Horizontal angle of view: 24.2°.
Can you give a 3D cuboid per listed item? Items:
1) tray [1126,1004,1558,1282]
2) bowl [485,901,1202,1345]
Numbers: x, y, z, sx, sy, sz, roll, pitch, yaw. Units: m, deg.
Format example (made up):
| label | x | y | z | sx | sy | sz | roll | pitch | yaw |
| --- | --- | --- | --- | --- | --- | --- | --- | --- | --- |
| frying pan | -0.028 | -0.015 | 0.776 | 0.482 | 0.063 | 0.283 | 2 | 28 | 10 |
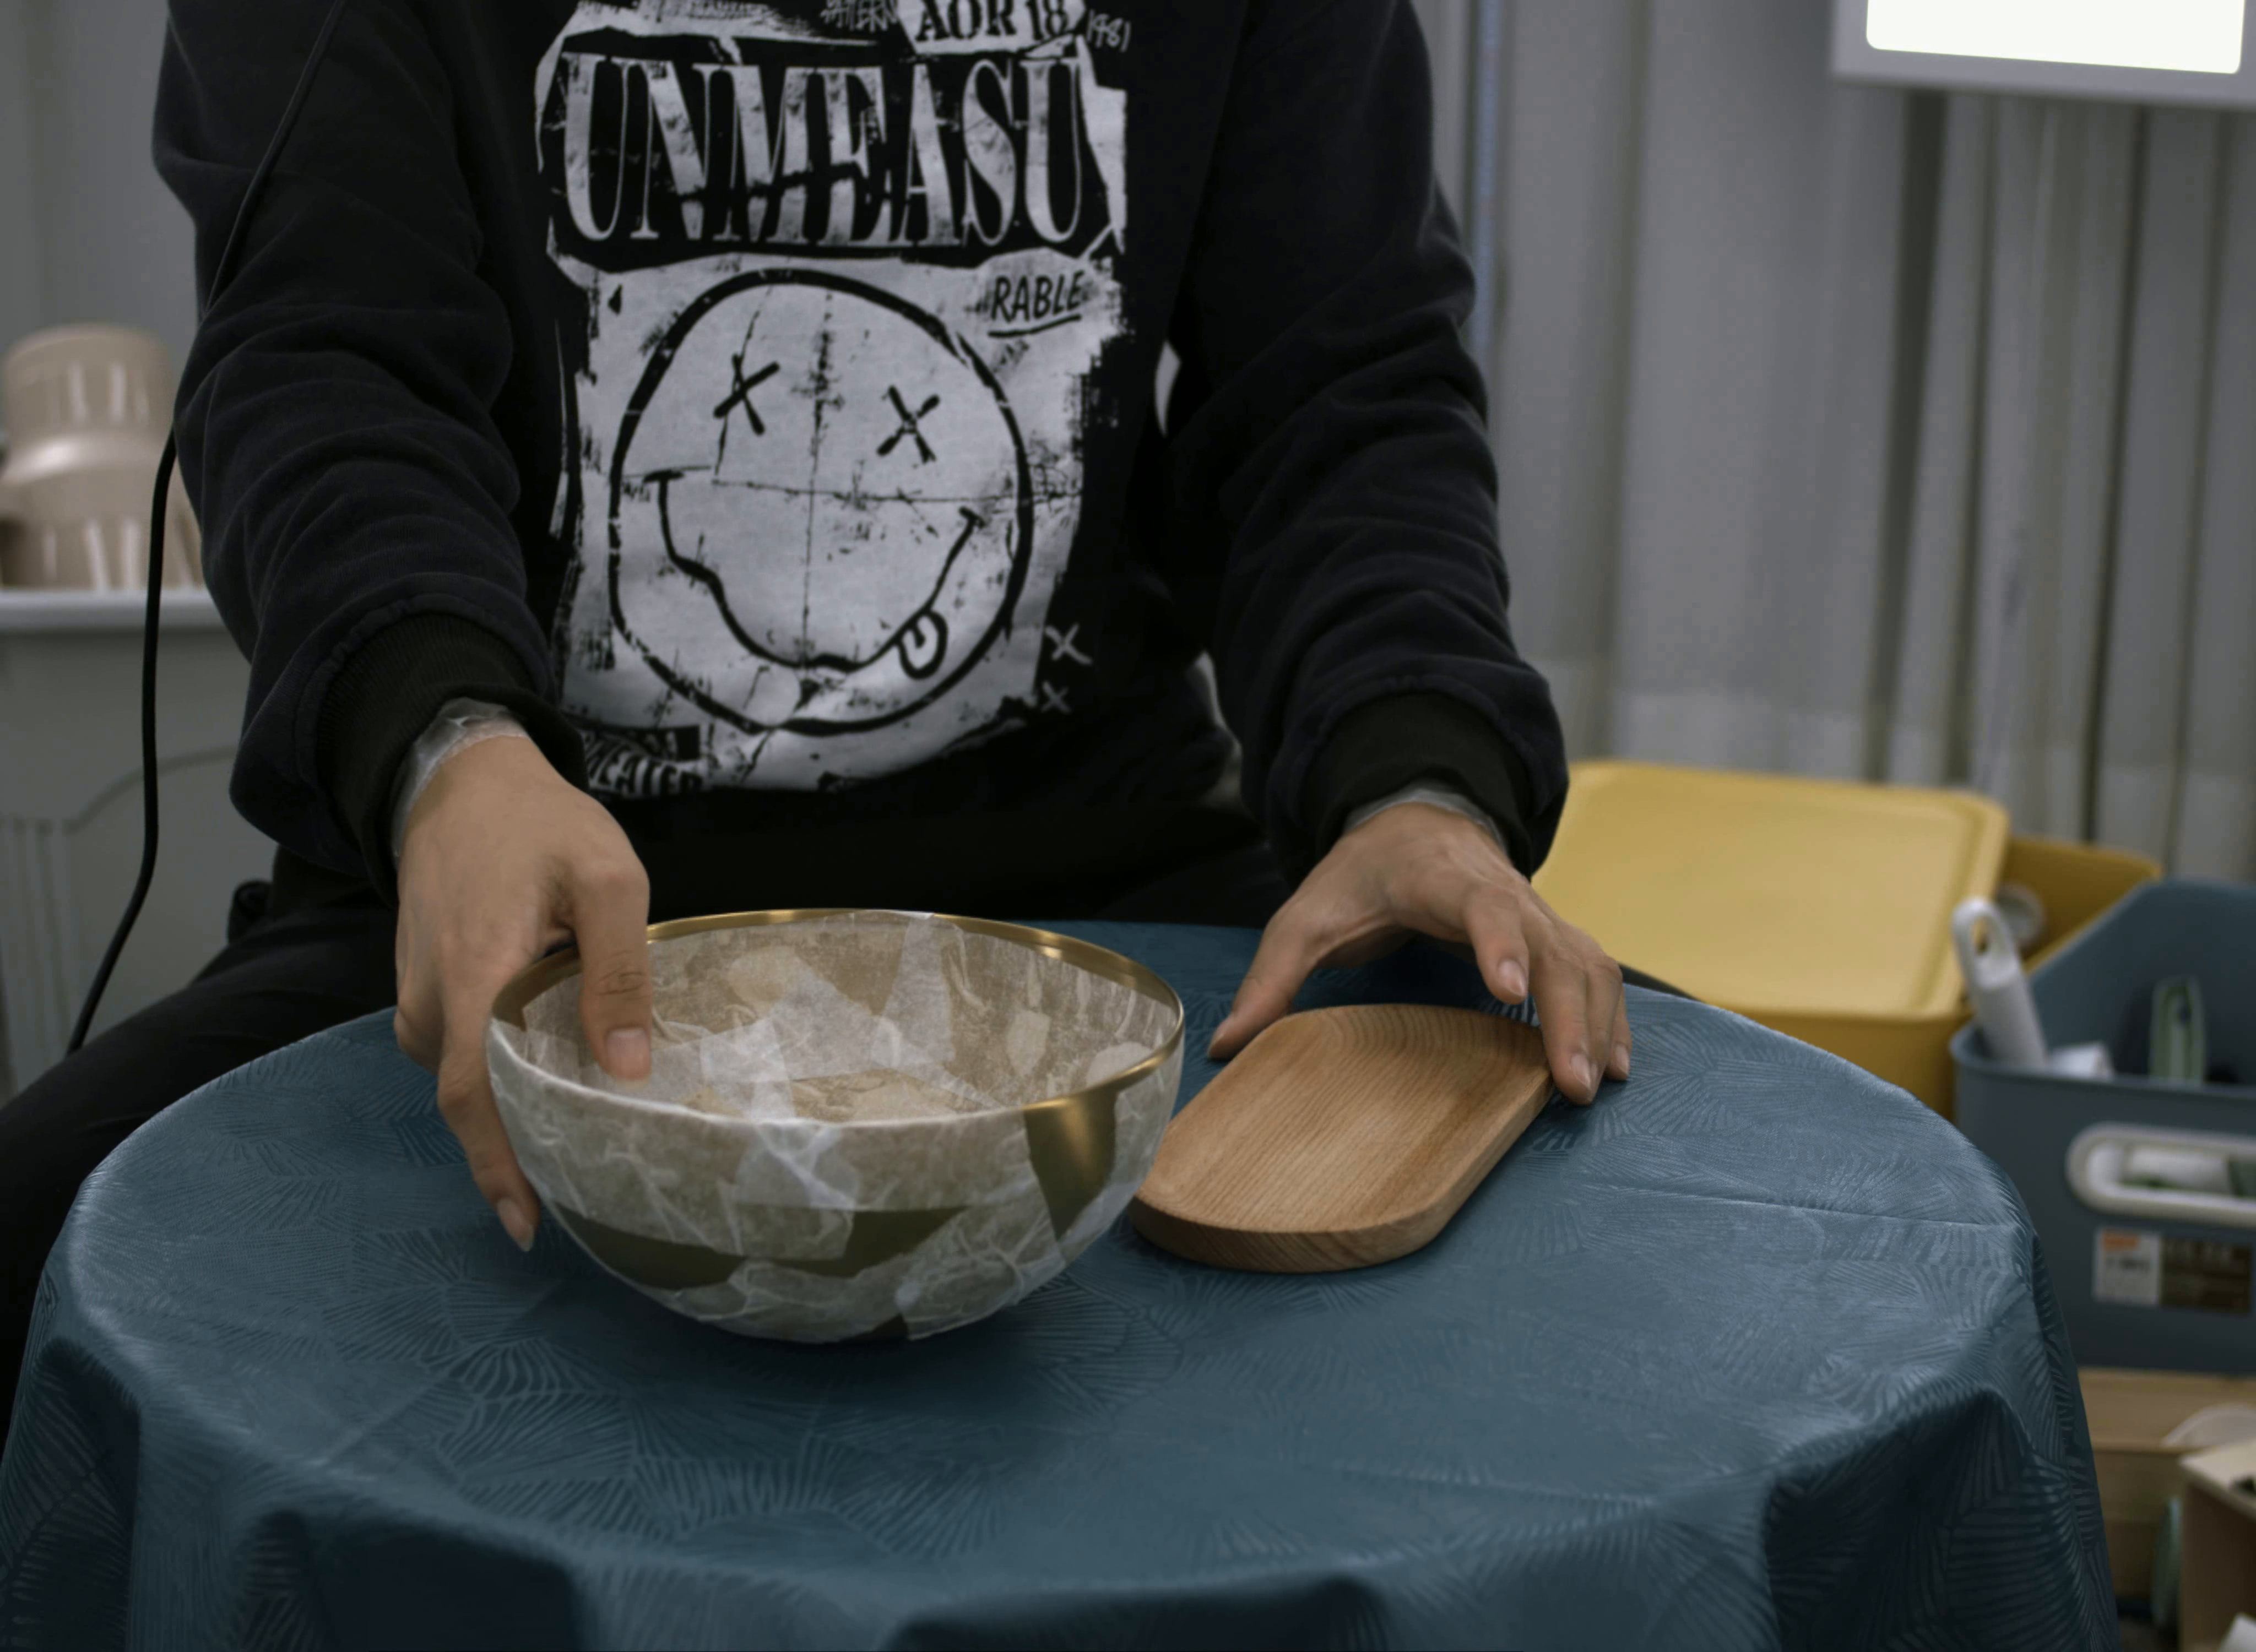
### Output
| label | x | y | z | sx | sy | sz | roll | pitch | yaw |
| --- | --- | --- | --- | --- | --- | --- | --- | --- | --- |
| tray | 0.070 | 0.097 | 1.655 | 0.101 | 0.020 | 0.231 | 4 | 18 | 17 |
| bowl | -0.080 | 0.094 | 1.518 | 0.214 | 0.095 | 0.213 | 1 | 17 | 0 |
